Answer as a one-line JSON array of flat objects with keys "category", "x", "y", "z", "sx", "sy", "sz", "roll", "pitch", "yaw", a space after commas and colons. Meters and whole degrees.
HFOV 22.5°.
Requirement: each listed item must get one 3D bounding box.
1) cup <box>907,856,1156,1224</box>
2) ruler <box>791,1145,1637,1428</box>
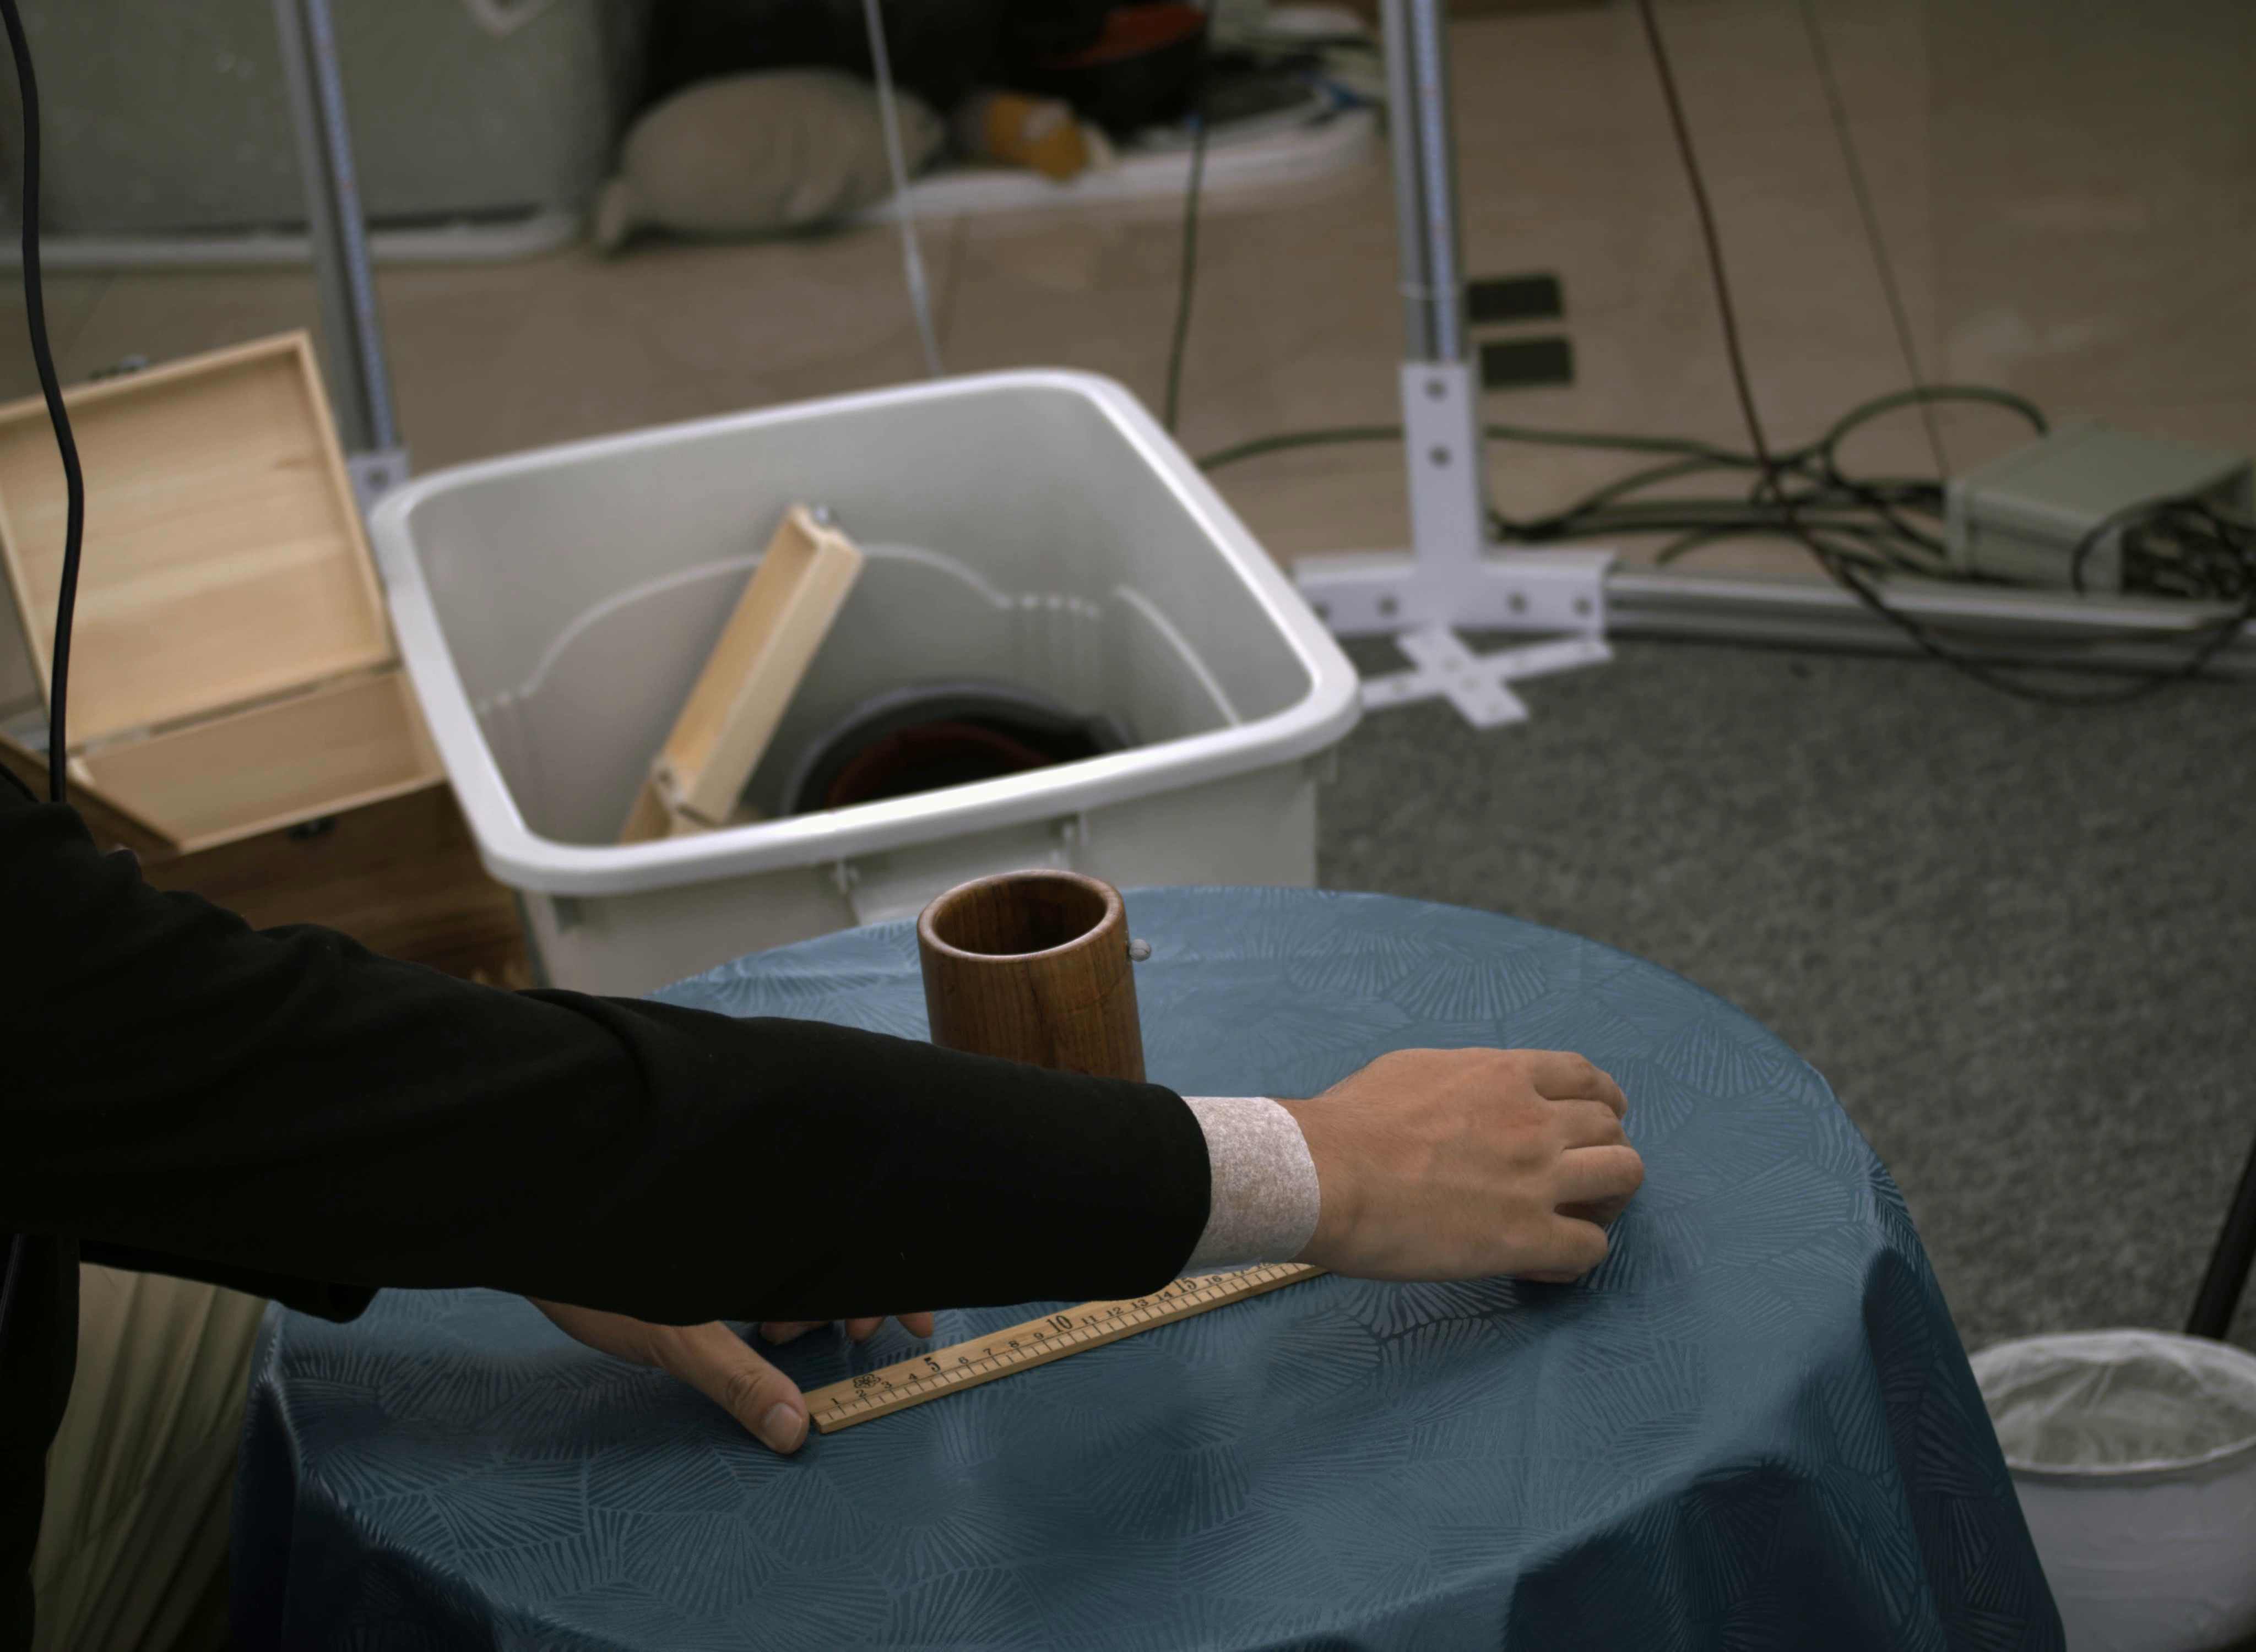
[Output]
[{"category": "cup", "x": -0.033, "y": 0.081, "z": 2.141, "sx": 0.087, "sy": 0.120, "sz": 0.086, "roll": -6, "pitch": 25, "yaw": 3}, {"category": "ruler", "x": 0.034, "y": 0.164, "z": 2.073, "sx": 0.330, "sy": 0.022, "sz": 0.027, "roll": -15, "pitch": 19, "yaw": -18}]
